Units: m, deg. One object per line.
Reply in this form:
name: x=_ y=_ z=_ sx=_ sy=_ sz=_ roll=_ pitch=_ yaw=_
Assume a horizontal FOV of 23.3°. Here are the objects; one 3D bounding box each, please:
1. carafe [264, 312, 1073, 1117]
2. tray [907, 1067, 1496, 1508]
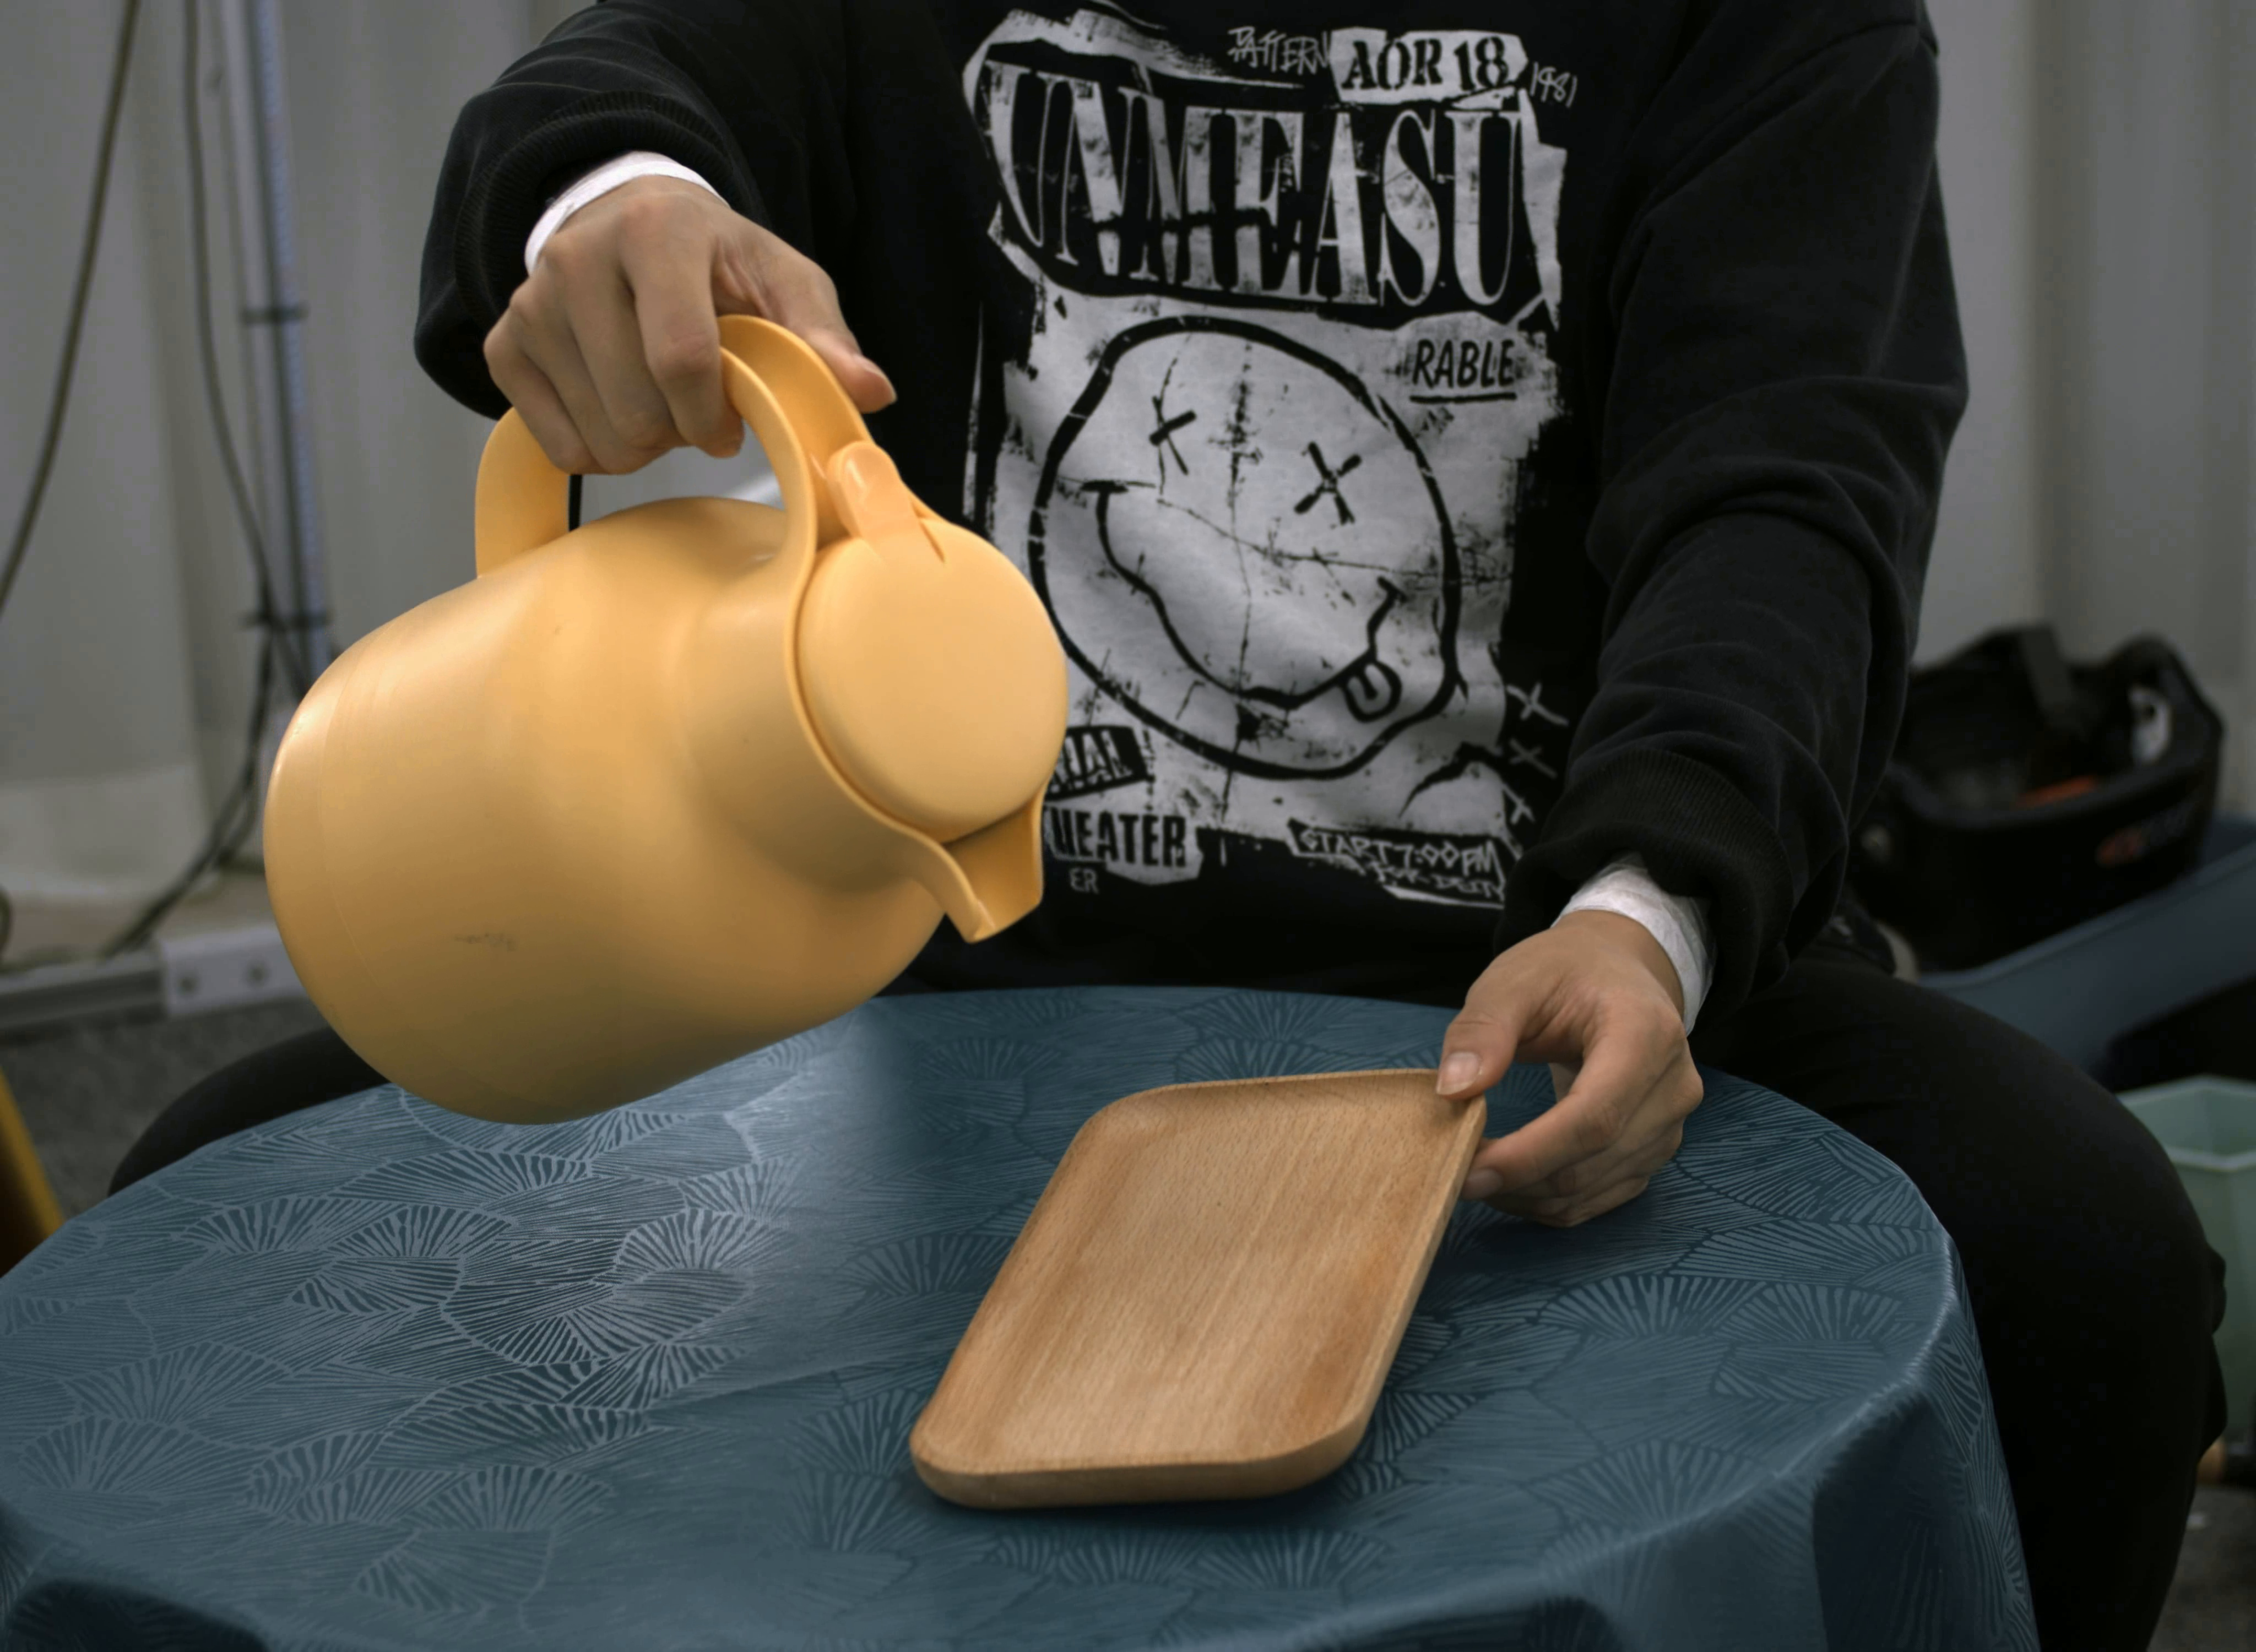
carafe: x=-0.132 y=-0.033 z=1.591 sx=0.163 sy=0.203 sz=0.260 roll=-17 pitch=-3 yaw=-44
tray: x=0.025 y=0.129 z=1.556 sx=0.130 sy=0.023 sz=0.252 roll=-2 pitch=20 yaw=16
